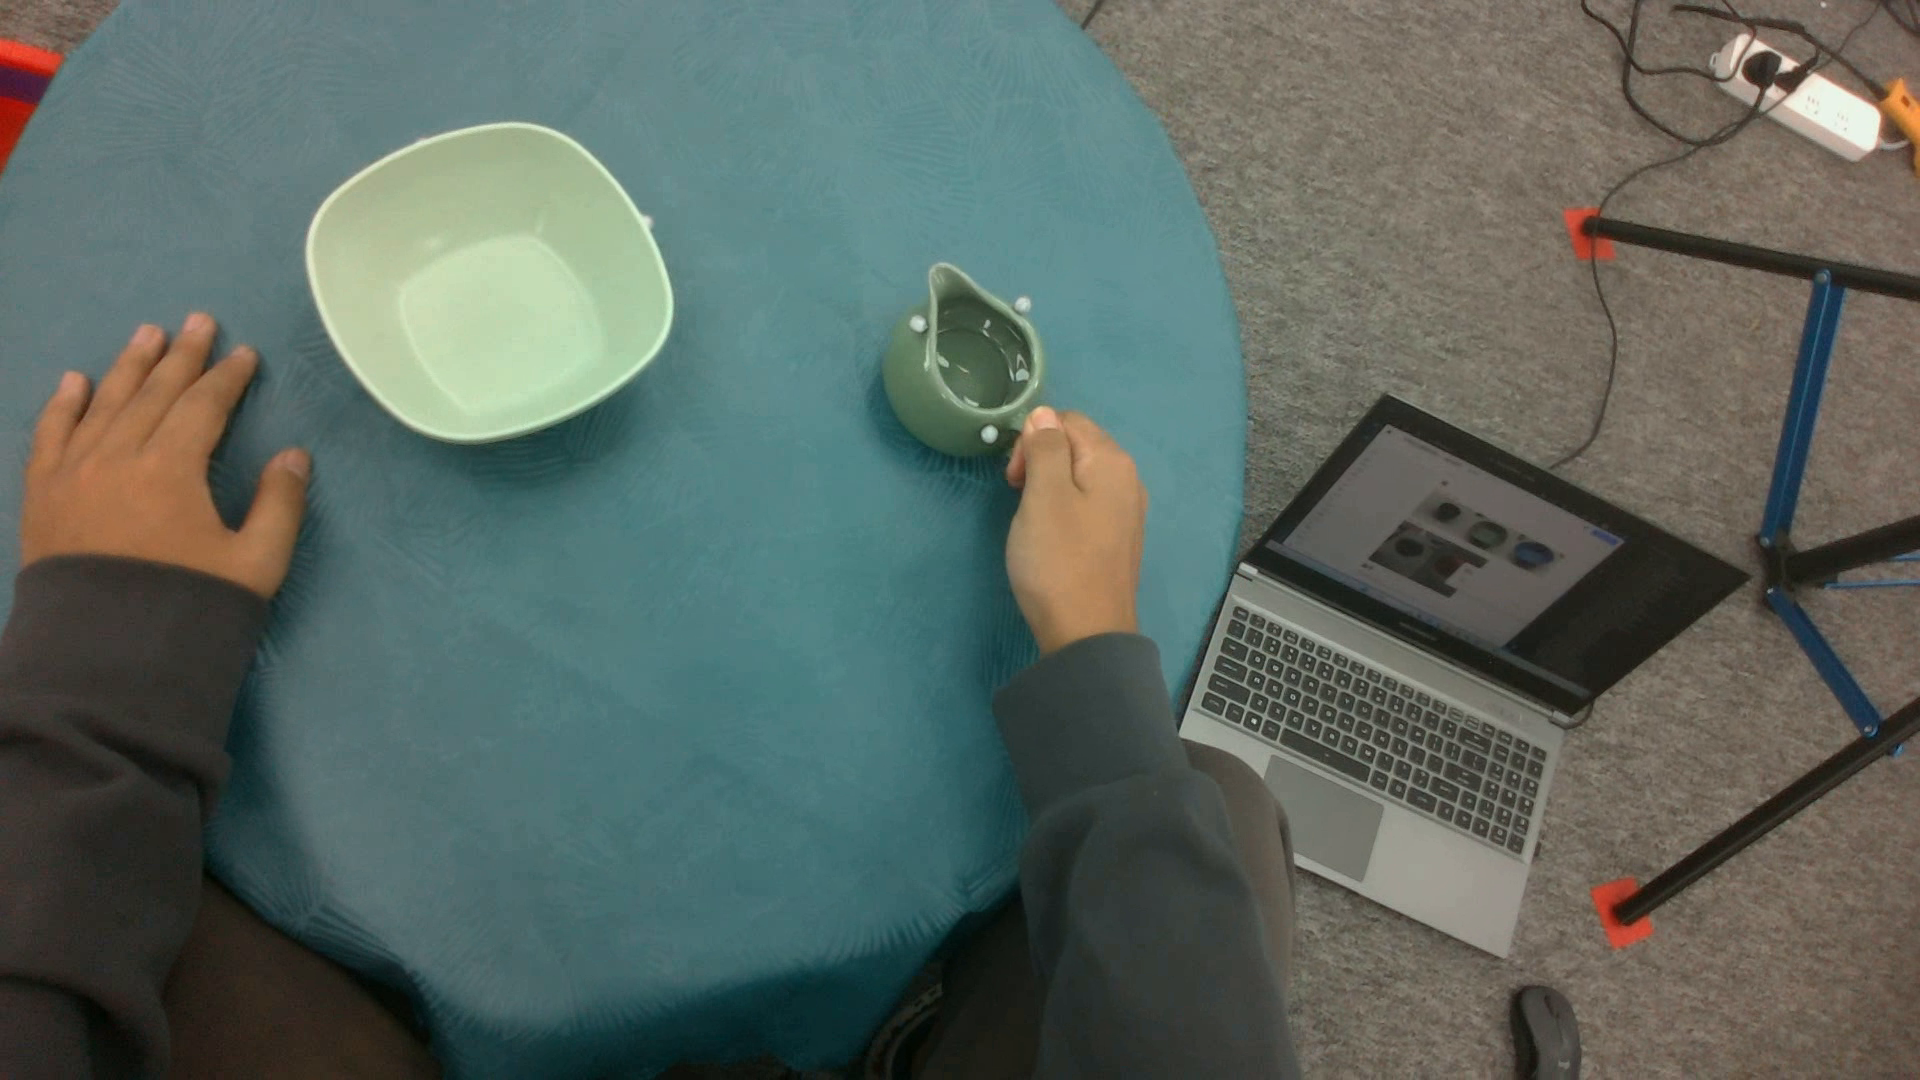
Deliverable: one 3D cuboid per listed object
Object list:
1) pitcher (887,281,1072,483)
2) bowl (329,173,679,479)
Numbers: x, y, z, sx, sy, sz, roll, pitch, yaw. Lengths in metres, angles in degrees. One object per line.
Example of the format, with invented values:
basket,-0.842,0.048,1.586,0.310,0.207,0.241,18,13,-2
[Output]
pitcher,0.012,-0.073,0.679,0.084,0.056,0.112,-38,94,-16
bowl,-0.207,-0.091,0.637,0.151,0.058,0.152,4,71,-12
